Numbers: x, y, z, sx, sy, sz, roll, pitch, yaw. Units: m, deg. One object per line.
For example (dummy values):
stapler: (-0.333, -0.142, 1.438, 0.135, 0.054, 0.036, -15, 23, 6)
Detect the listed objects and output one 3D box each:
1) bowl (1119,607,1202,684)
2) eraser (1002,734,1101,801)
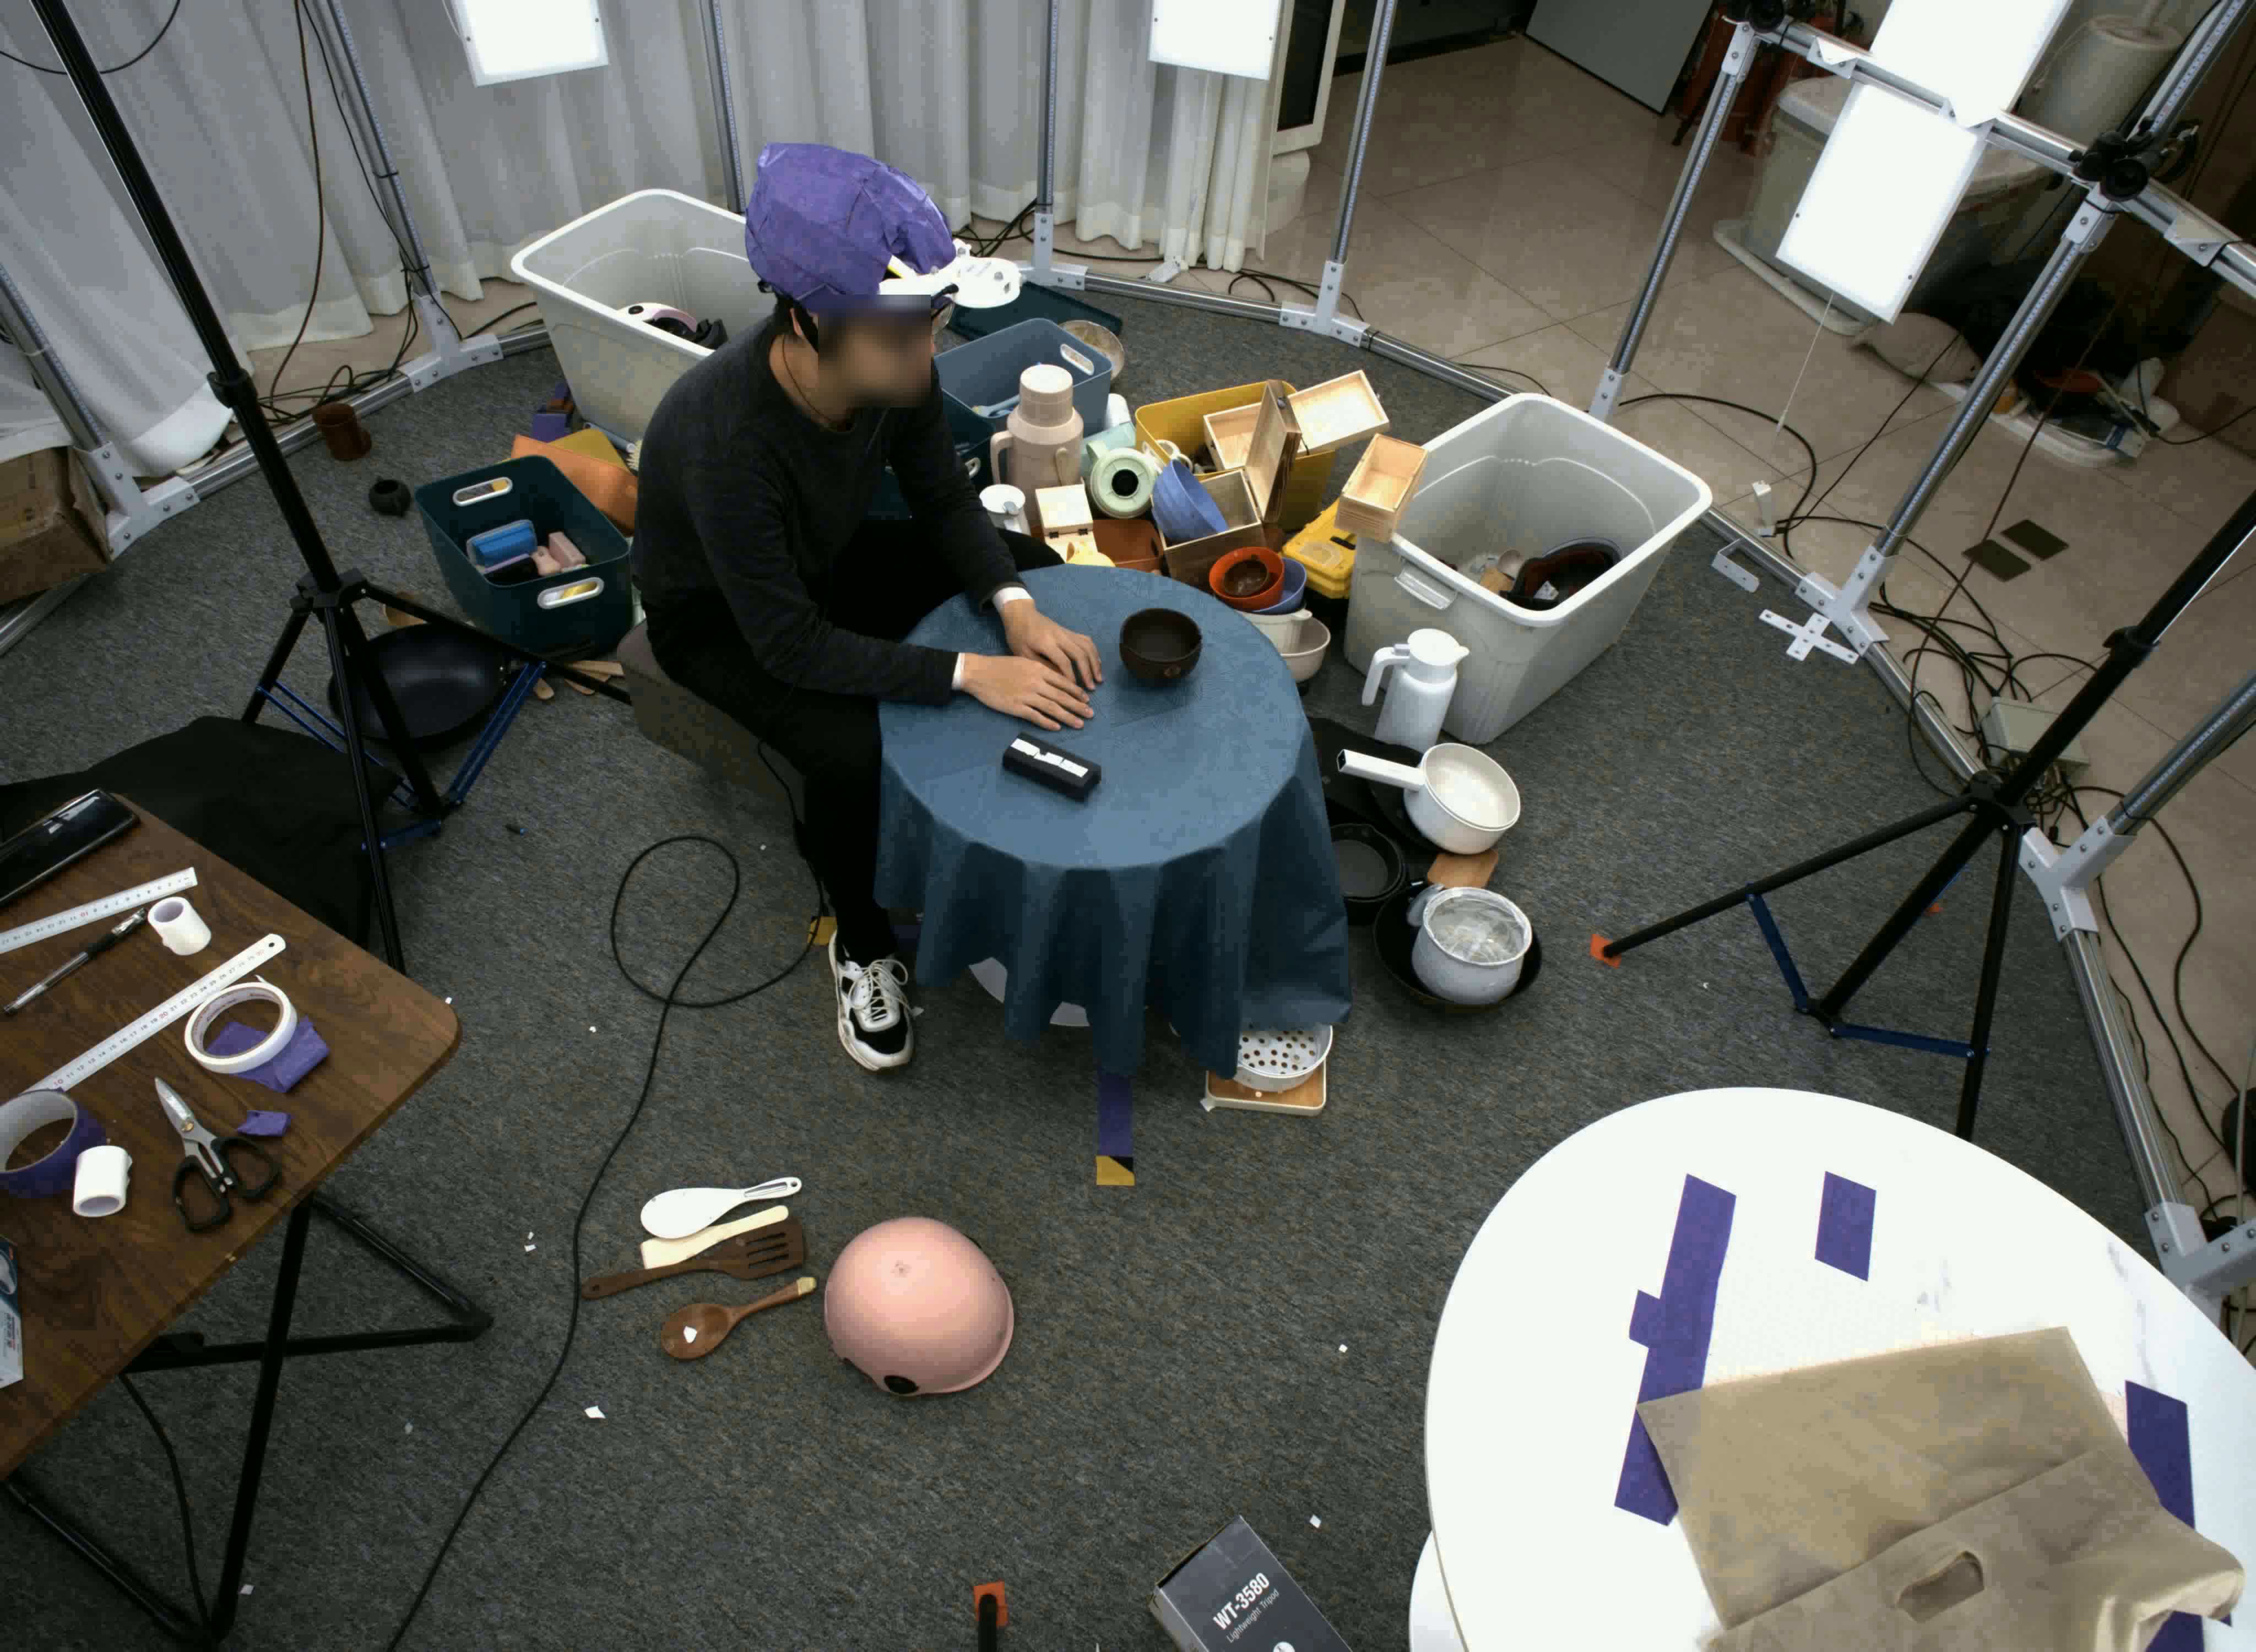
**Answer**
bowl: (0.045, -0.251, 1.846, 0.118, 0.068, 0.121, 1, 51, -2)
eraser: (-0.102, -0.079, 1.713, 0.126, 0.030, 0.054, 23, 49, 16)
